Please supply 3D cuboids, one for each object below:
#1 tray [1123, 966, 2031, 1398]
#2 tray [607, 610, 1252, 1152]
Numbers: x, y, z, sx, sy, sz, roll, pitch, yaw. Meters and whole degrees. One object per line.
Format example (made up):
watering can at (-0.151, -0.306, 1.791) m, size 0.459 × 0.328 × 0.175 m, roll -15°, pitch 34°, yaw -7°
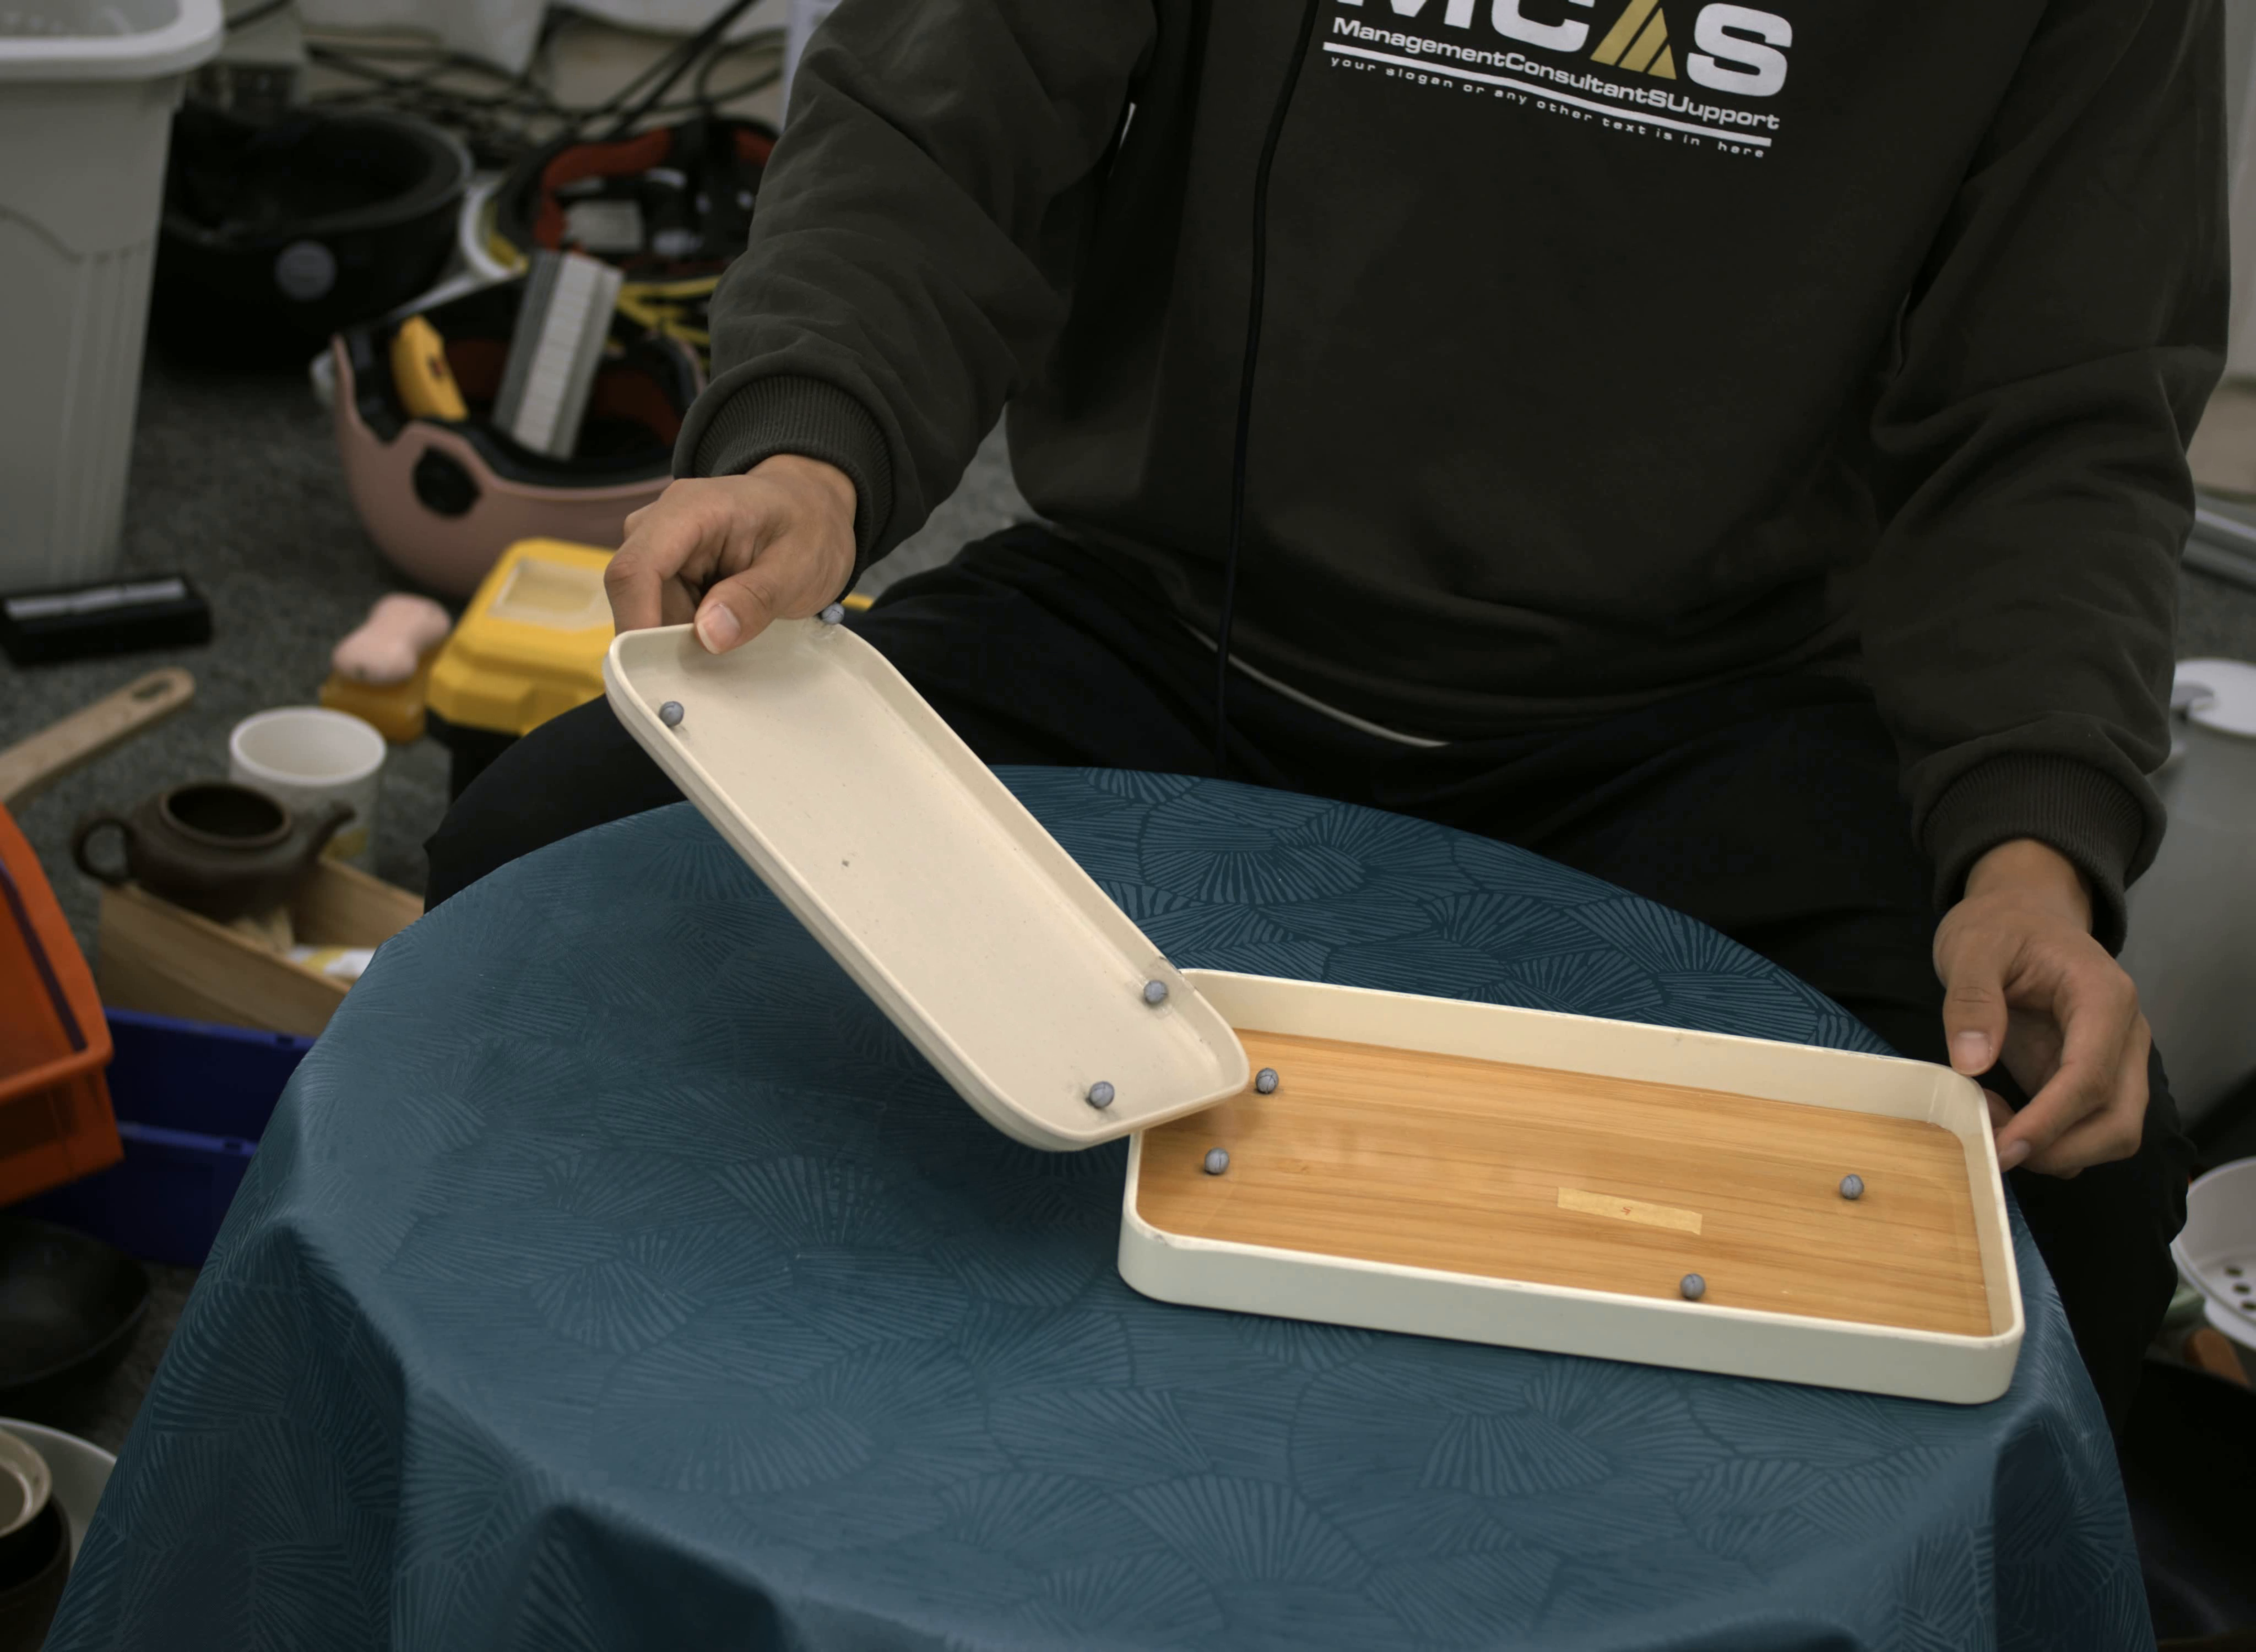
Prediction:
tray at (0.151, 0.120, 1.821) m, size 0.299 × 0.027 × 0.192 m, roll 7°, pitch 26°, yaw 0°
tray at (-0.069, 0.017, 1.814) m, size 0.241 × 0.017 × 0.170 m, roll 47°, pitch 24°, yaw 16°
